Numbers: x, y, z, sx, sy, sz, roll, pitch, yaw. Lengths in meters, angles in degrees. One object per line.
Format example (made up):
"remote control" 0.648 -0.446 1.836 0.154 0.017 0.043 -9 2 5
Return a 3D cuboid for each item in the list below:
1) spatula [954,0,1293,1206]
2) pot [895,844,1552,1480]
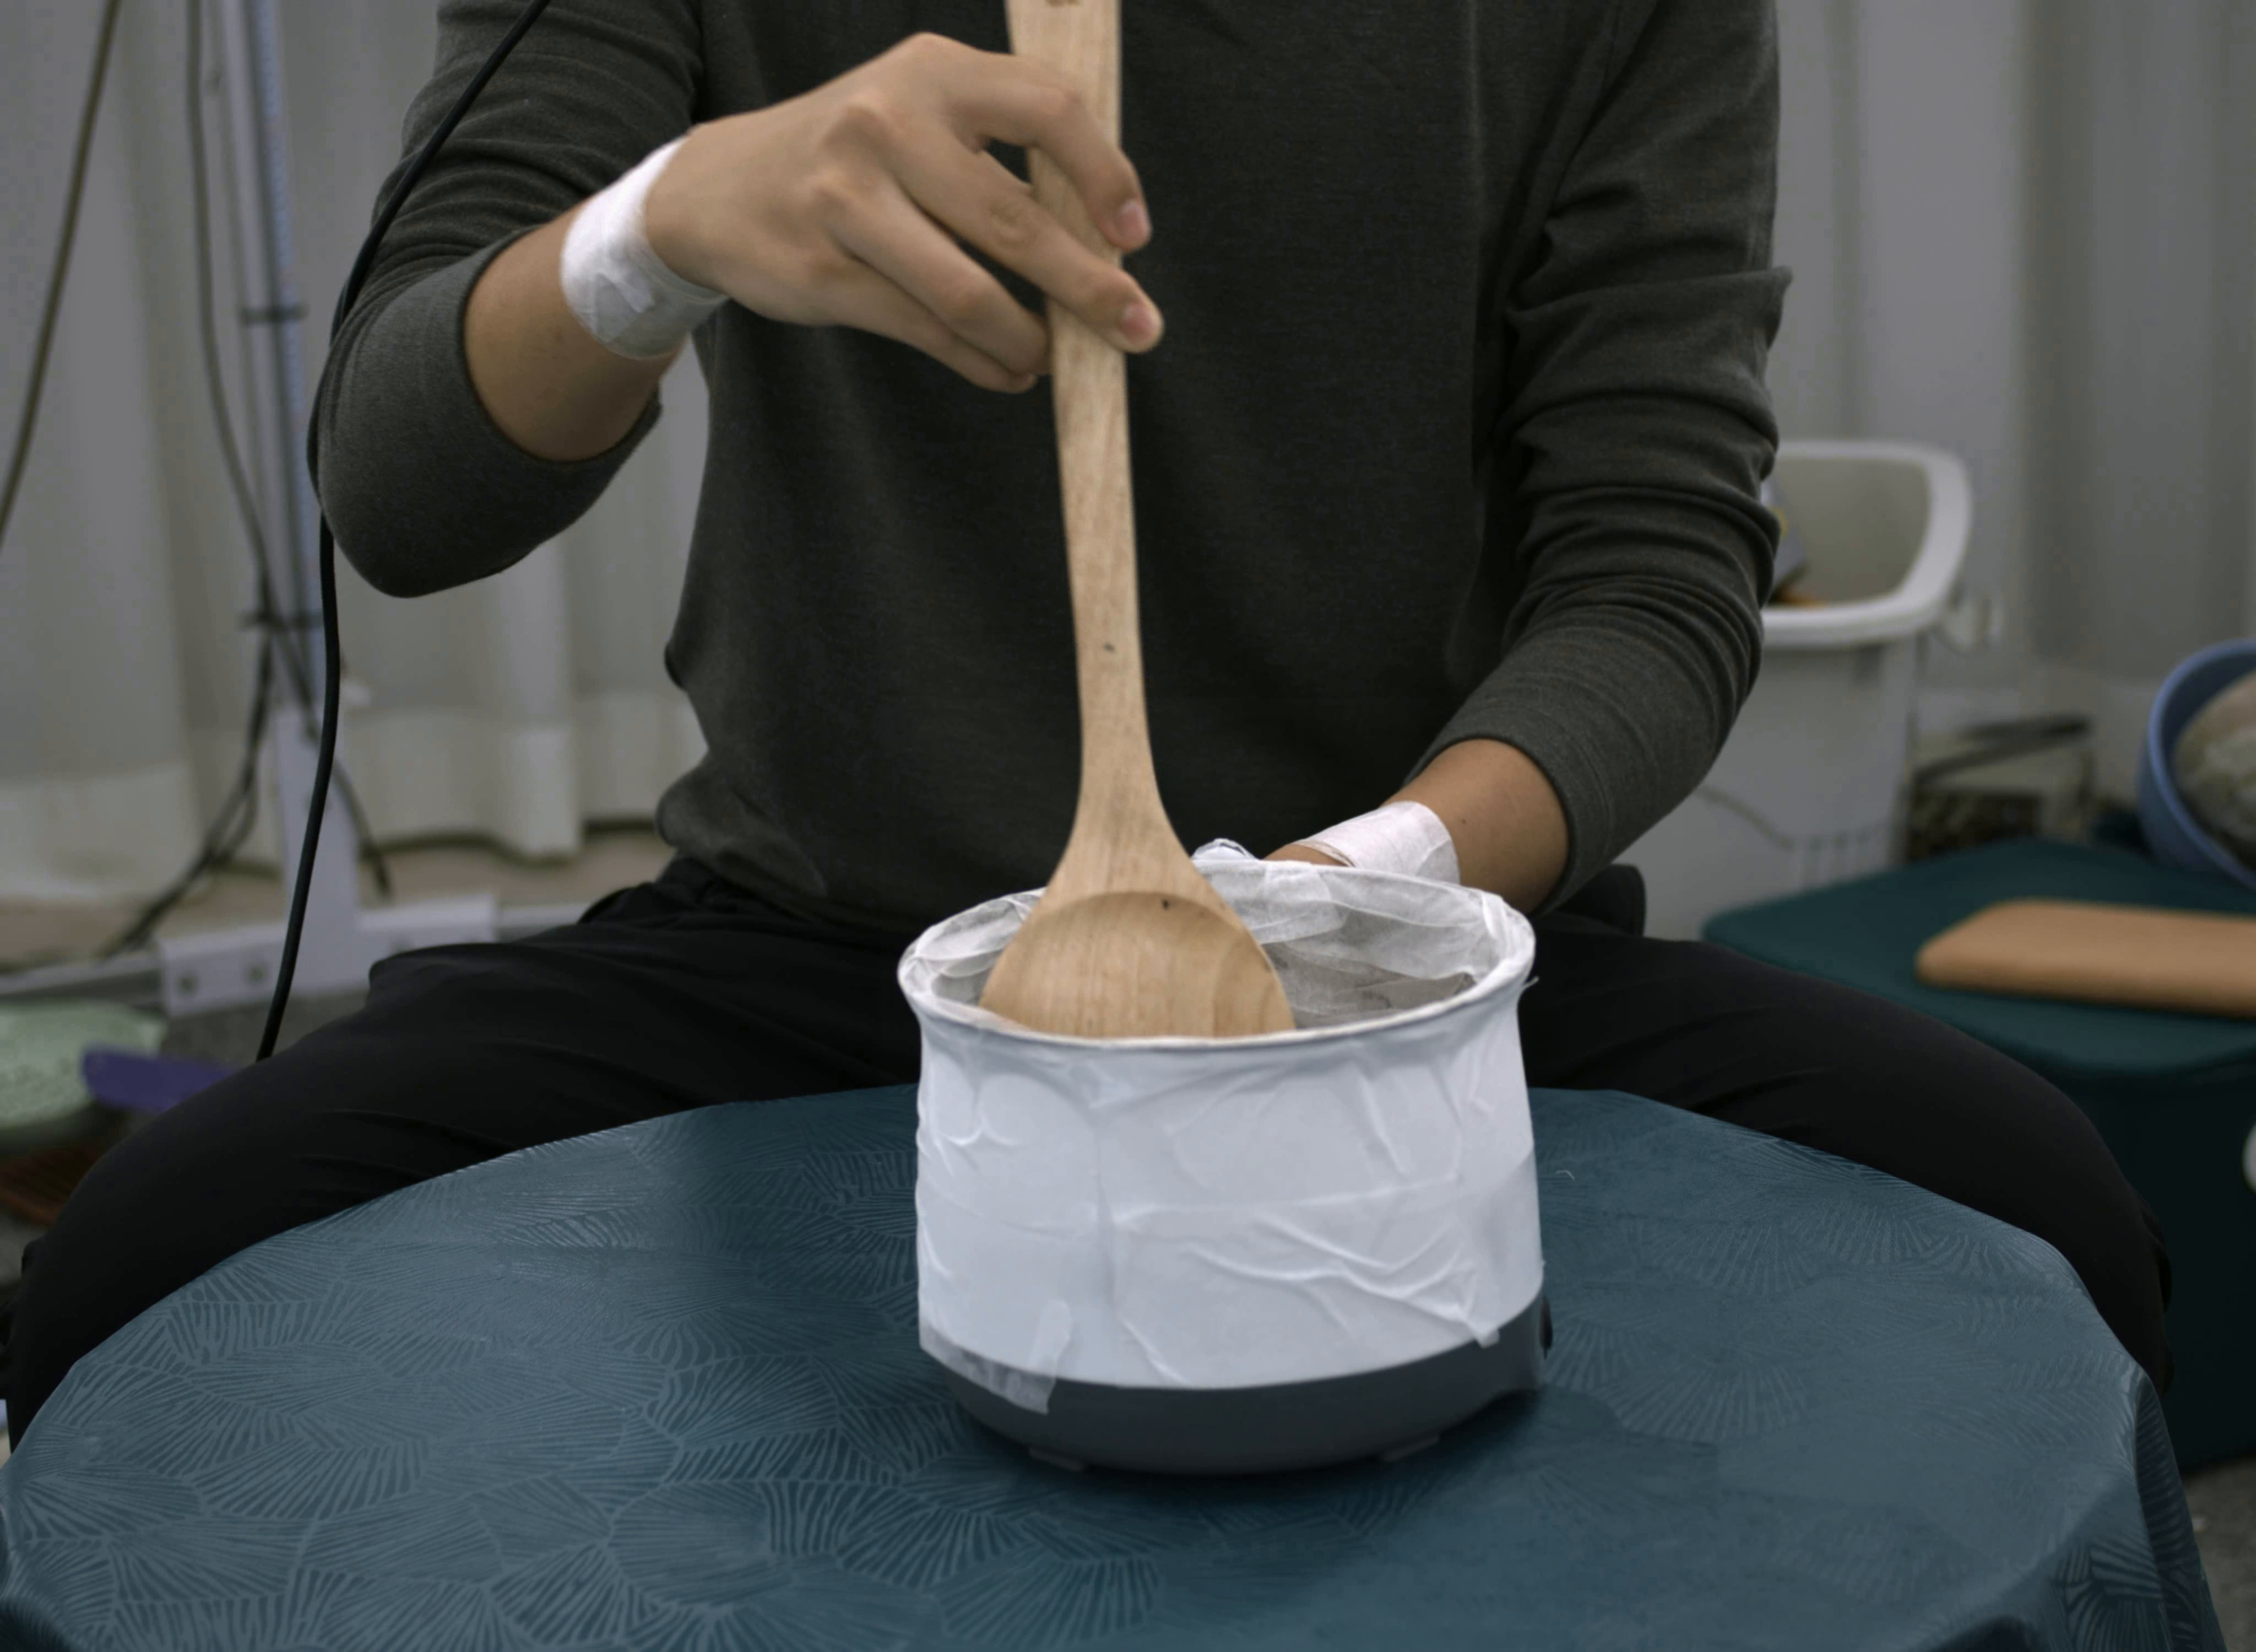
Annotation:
"spatula" -0.010 -0.082 1.502 0.095 0.392 0.018 -4 -3 1
"pot" 0.028 0.089 1.549 0.178 0.136 0.235 -3 14 2
